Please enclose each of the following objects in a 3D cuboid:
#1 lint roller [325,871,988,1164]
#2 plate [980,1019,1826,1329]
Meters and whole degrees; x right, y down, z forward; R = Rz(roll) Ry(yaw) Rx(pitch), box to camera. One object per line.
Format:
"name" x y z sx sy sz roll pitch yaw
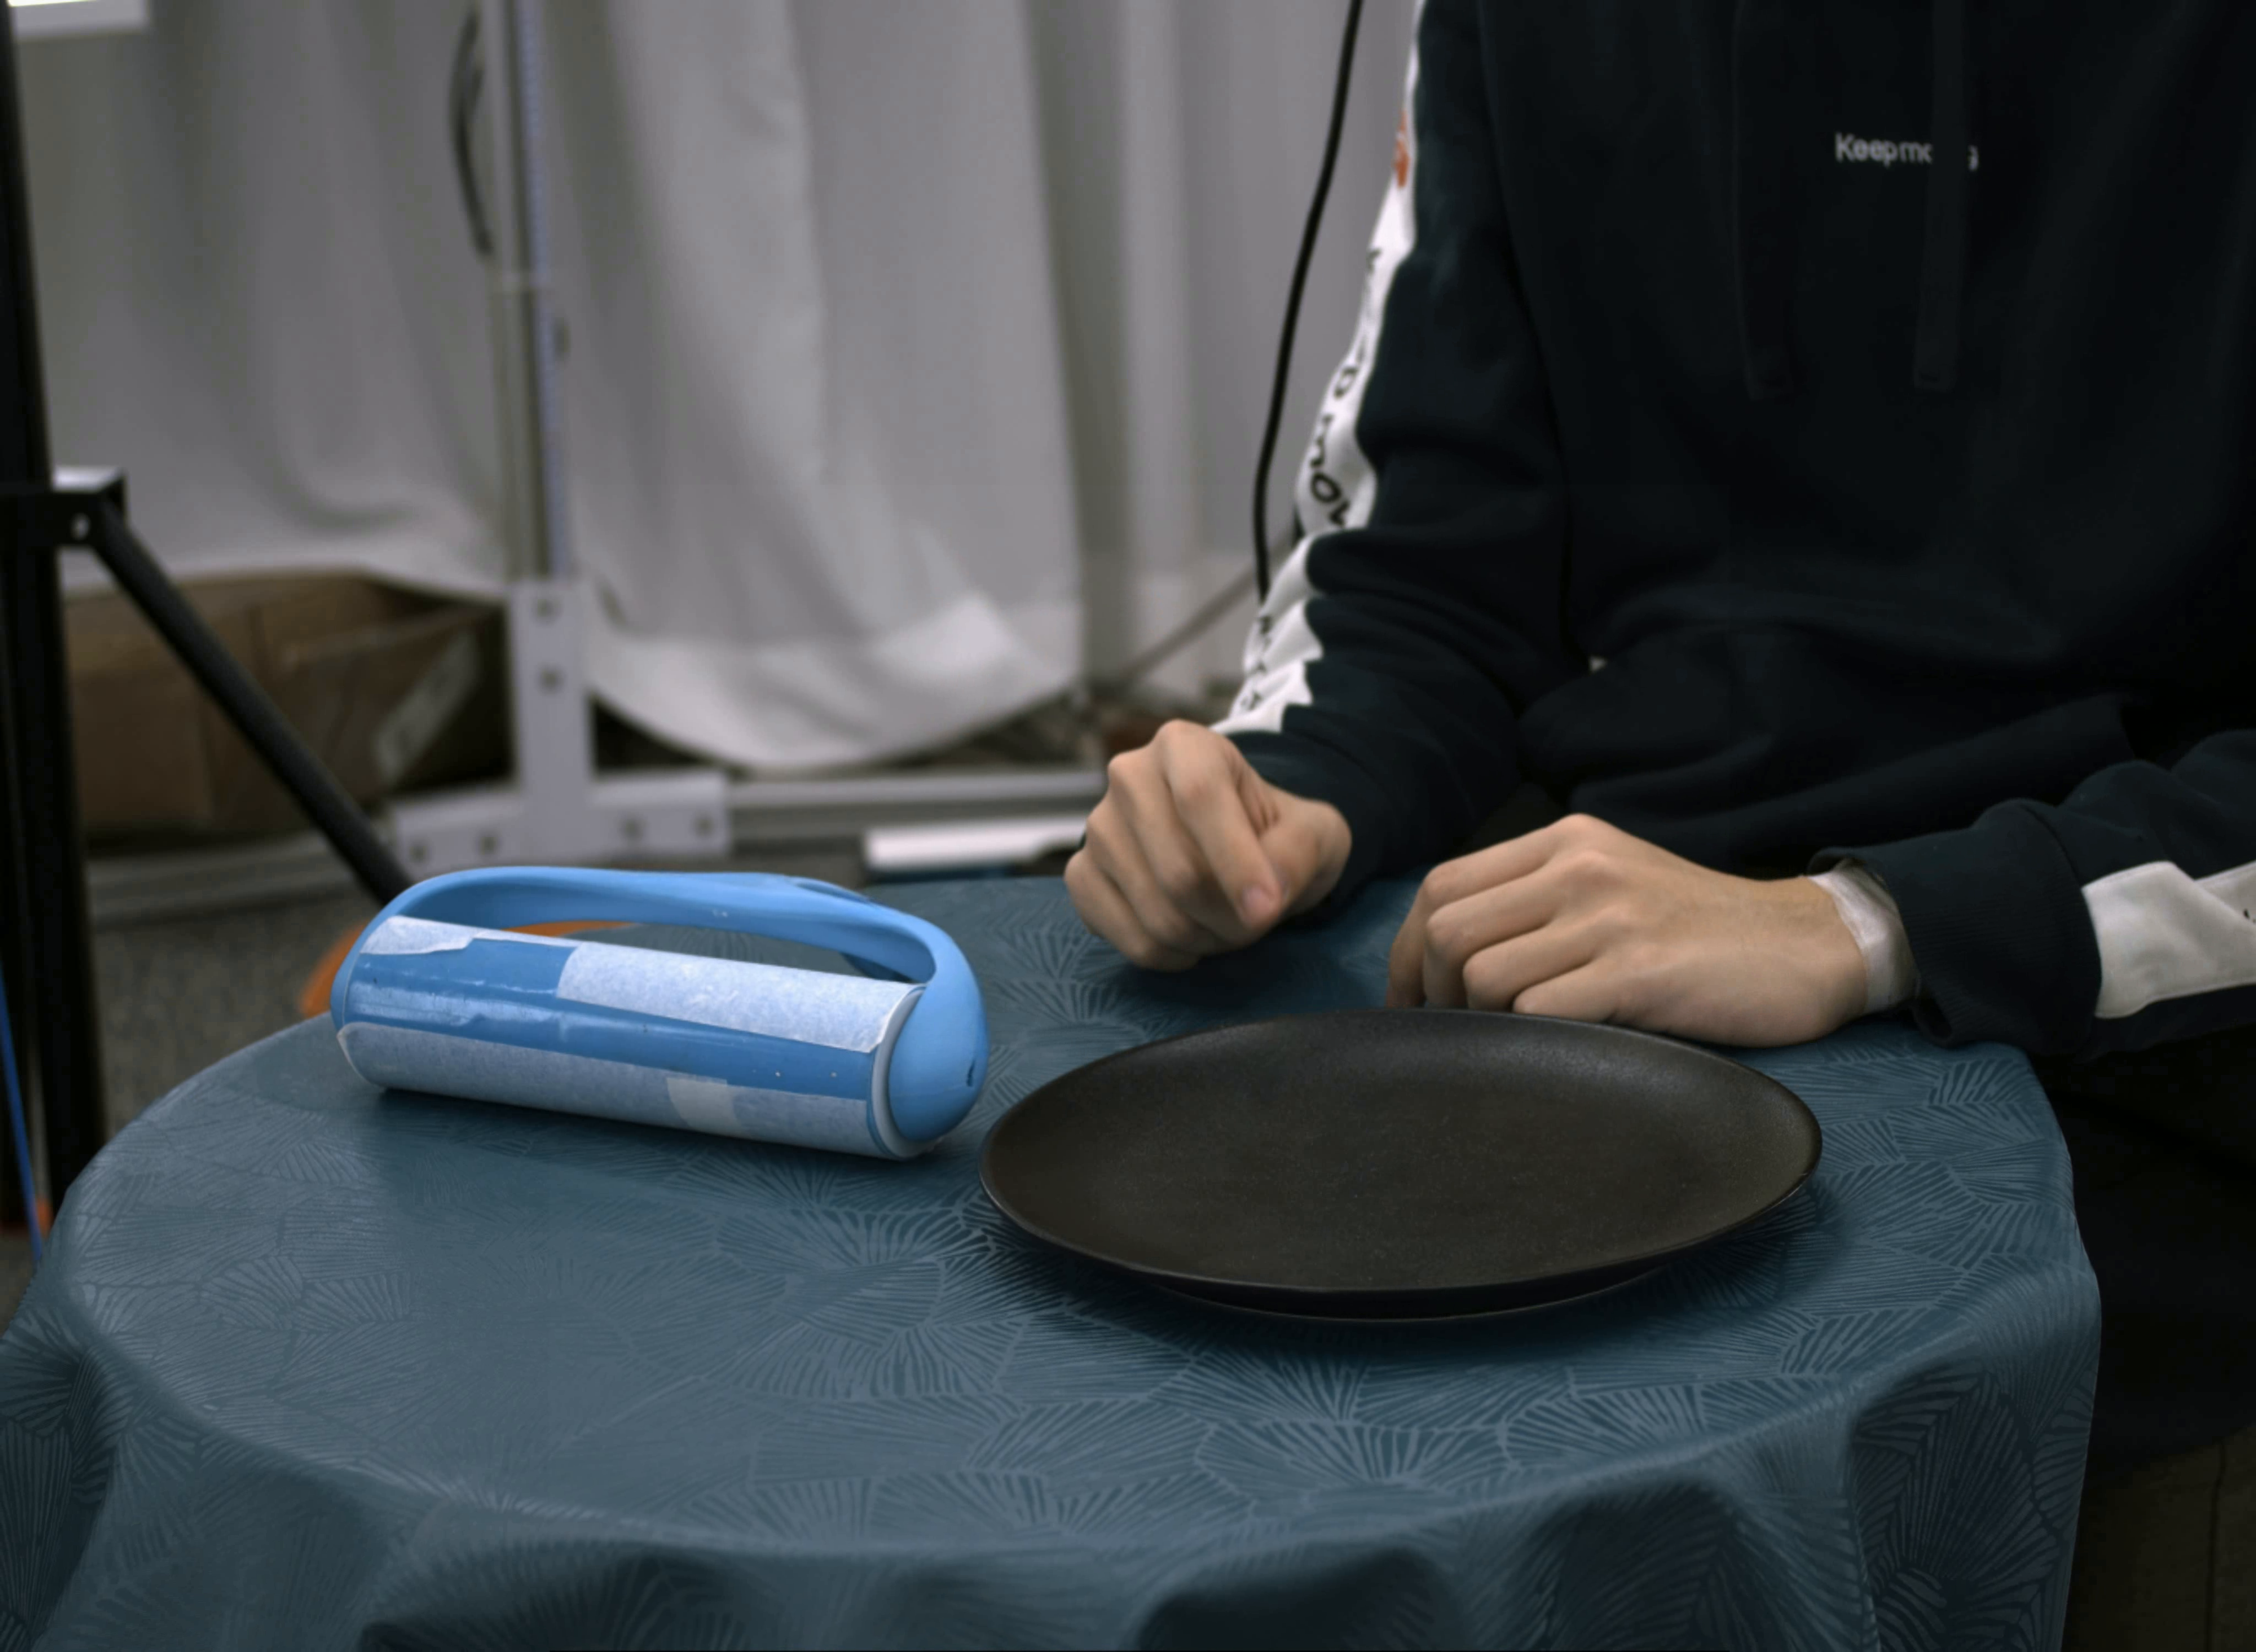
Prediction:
"lint roller" -0.123 0.049 1.686 0.232 0.068 0.177 5 16 26
"plate" 0.079 0.102 1.526 0.243 0.023 0.245 -3 16 -1
